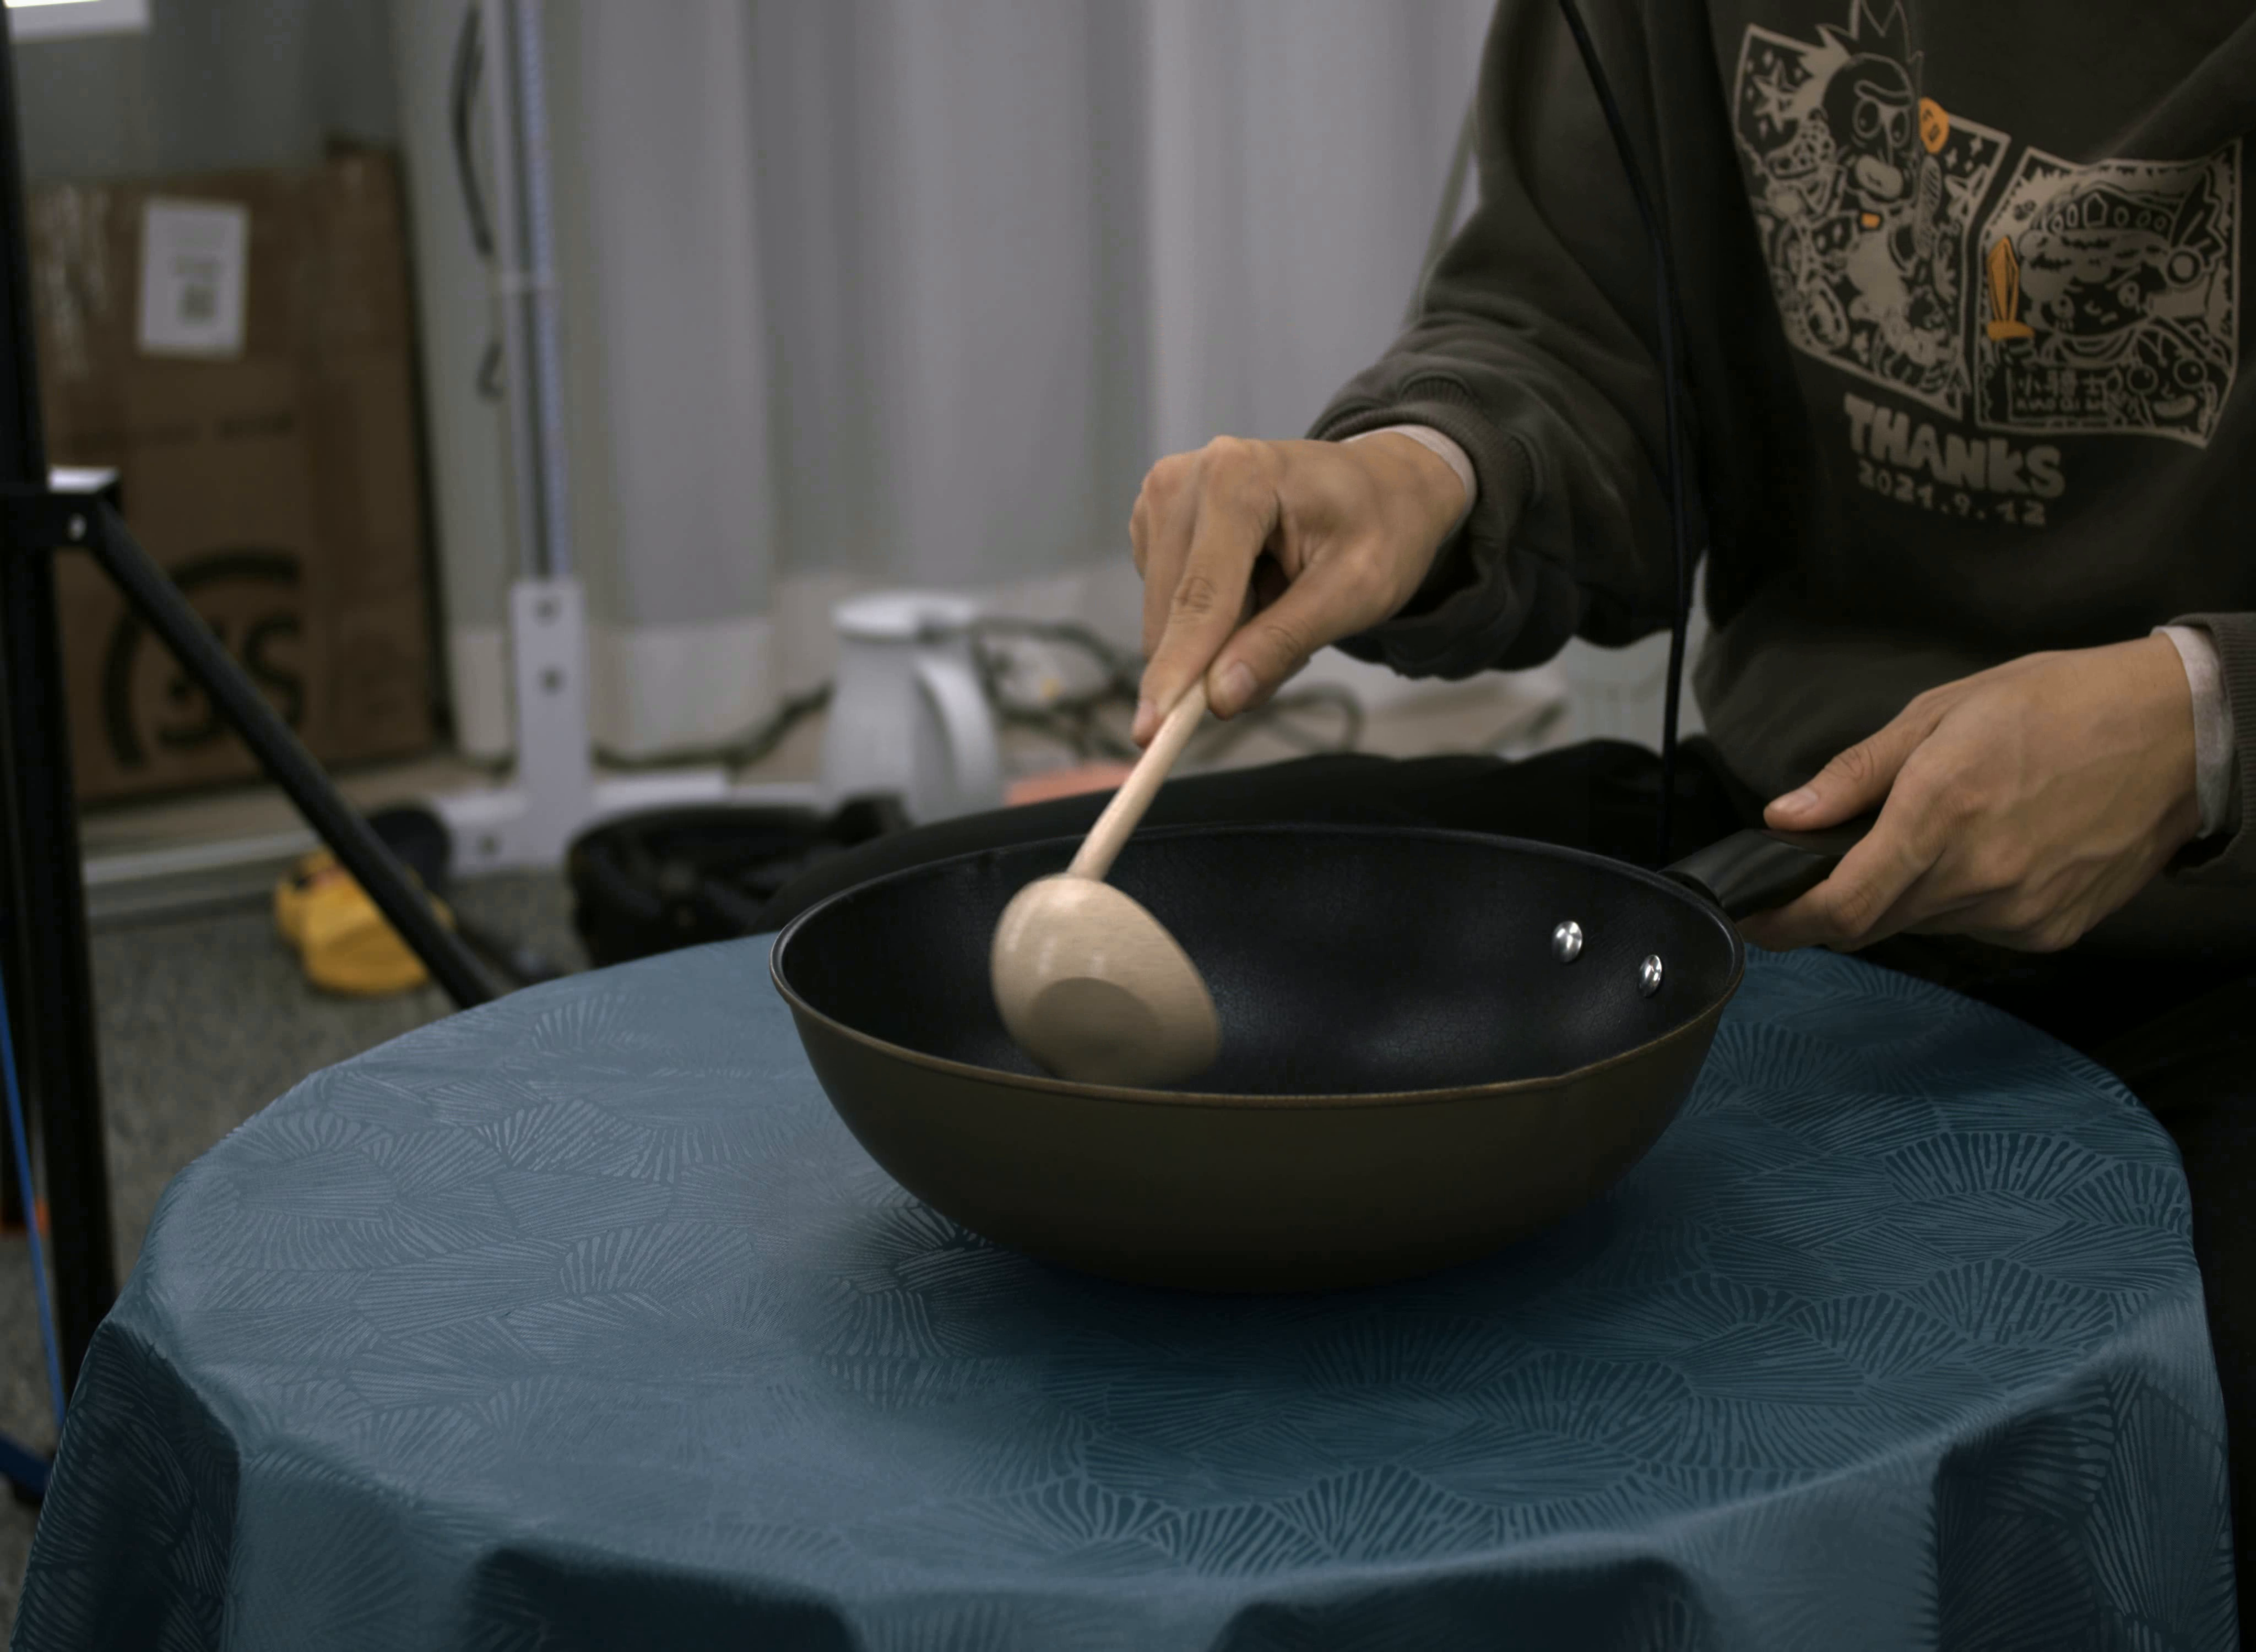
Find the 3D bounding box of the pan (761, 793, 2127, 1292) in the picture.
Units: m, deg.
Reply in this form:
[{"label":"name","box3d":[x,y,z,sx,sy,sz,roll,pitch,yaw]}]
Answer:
[{"label":"pan","box3d":[0.111,0.058,1.573,0.453,0.087,0.294,-9,17,-30]}]

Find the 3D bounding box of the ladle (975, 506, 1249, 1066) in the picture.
[{"label":"ladle","box3d":[0.023,-0.021,1.569,0.074,0.071,0.254,-11,34,32]}]
